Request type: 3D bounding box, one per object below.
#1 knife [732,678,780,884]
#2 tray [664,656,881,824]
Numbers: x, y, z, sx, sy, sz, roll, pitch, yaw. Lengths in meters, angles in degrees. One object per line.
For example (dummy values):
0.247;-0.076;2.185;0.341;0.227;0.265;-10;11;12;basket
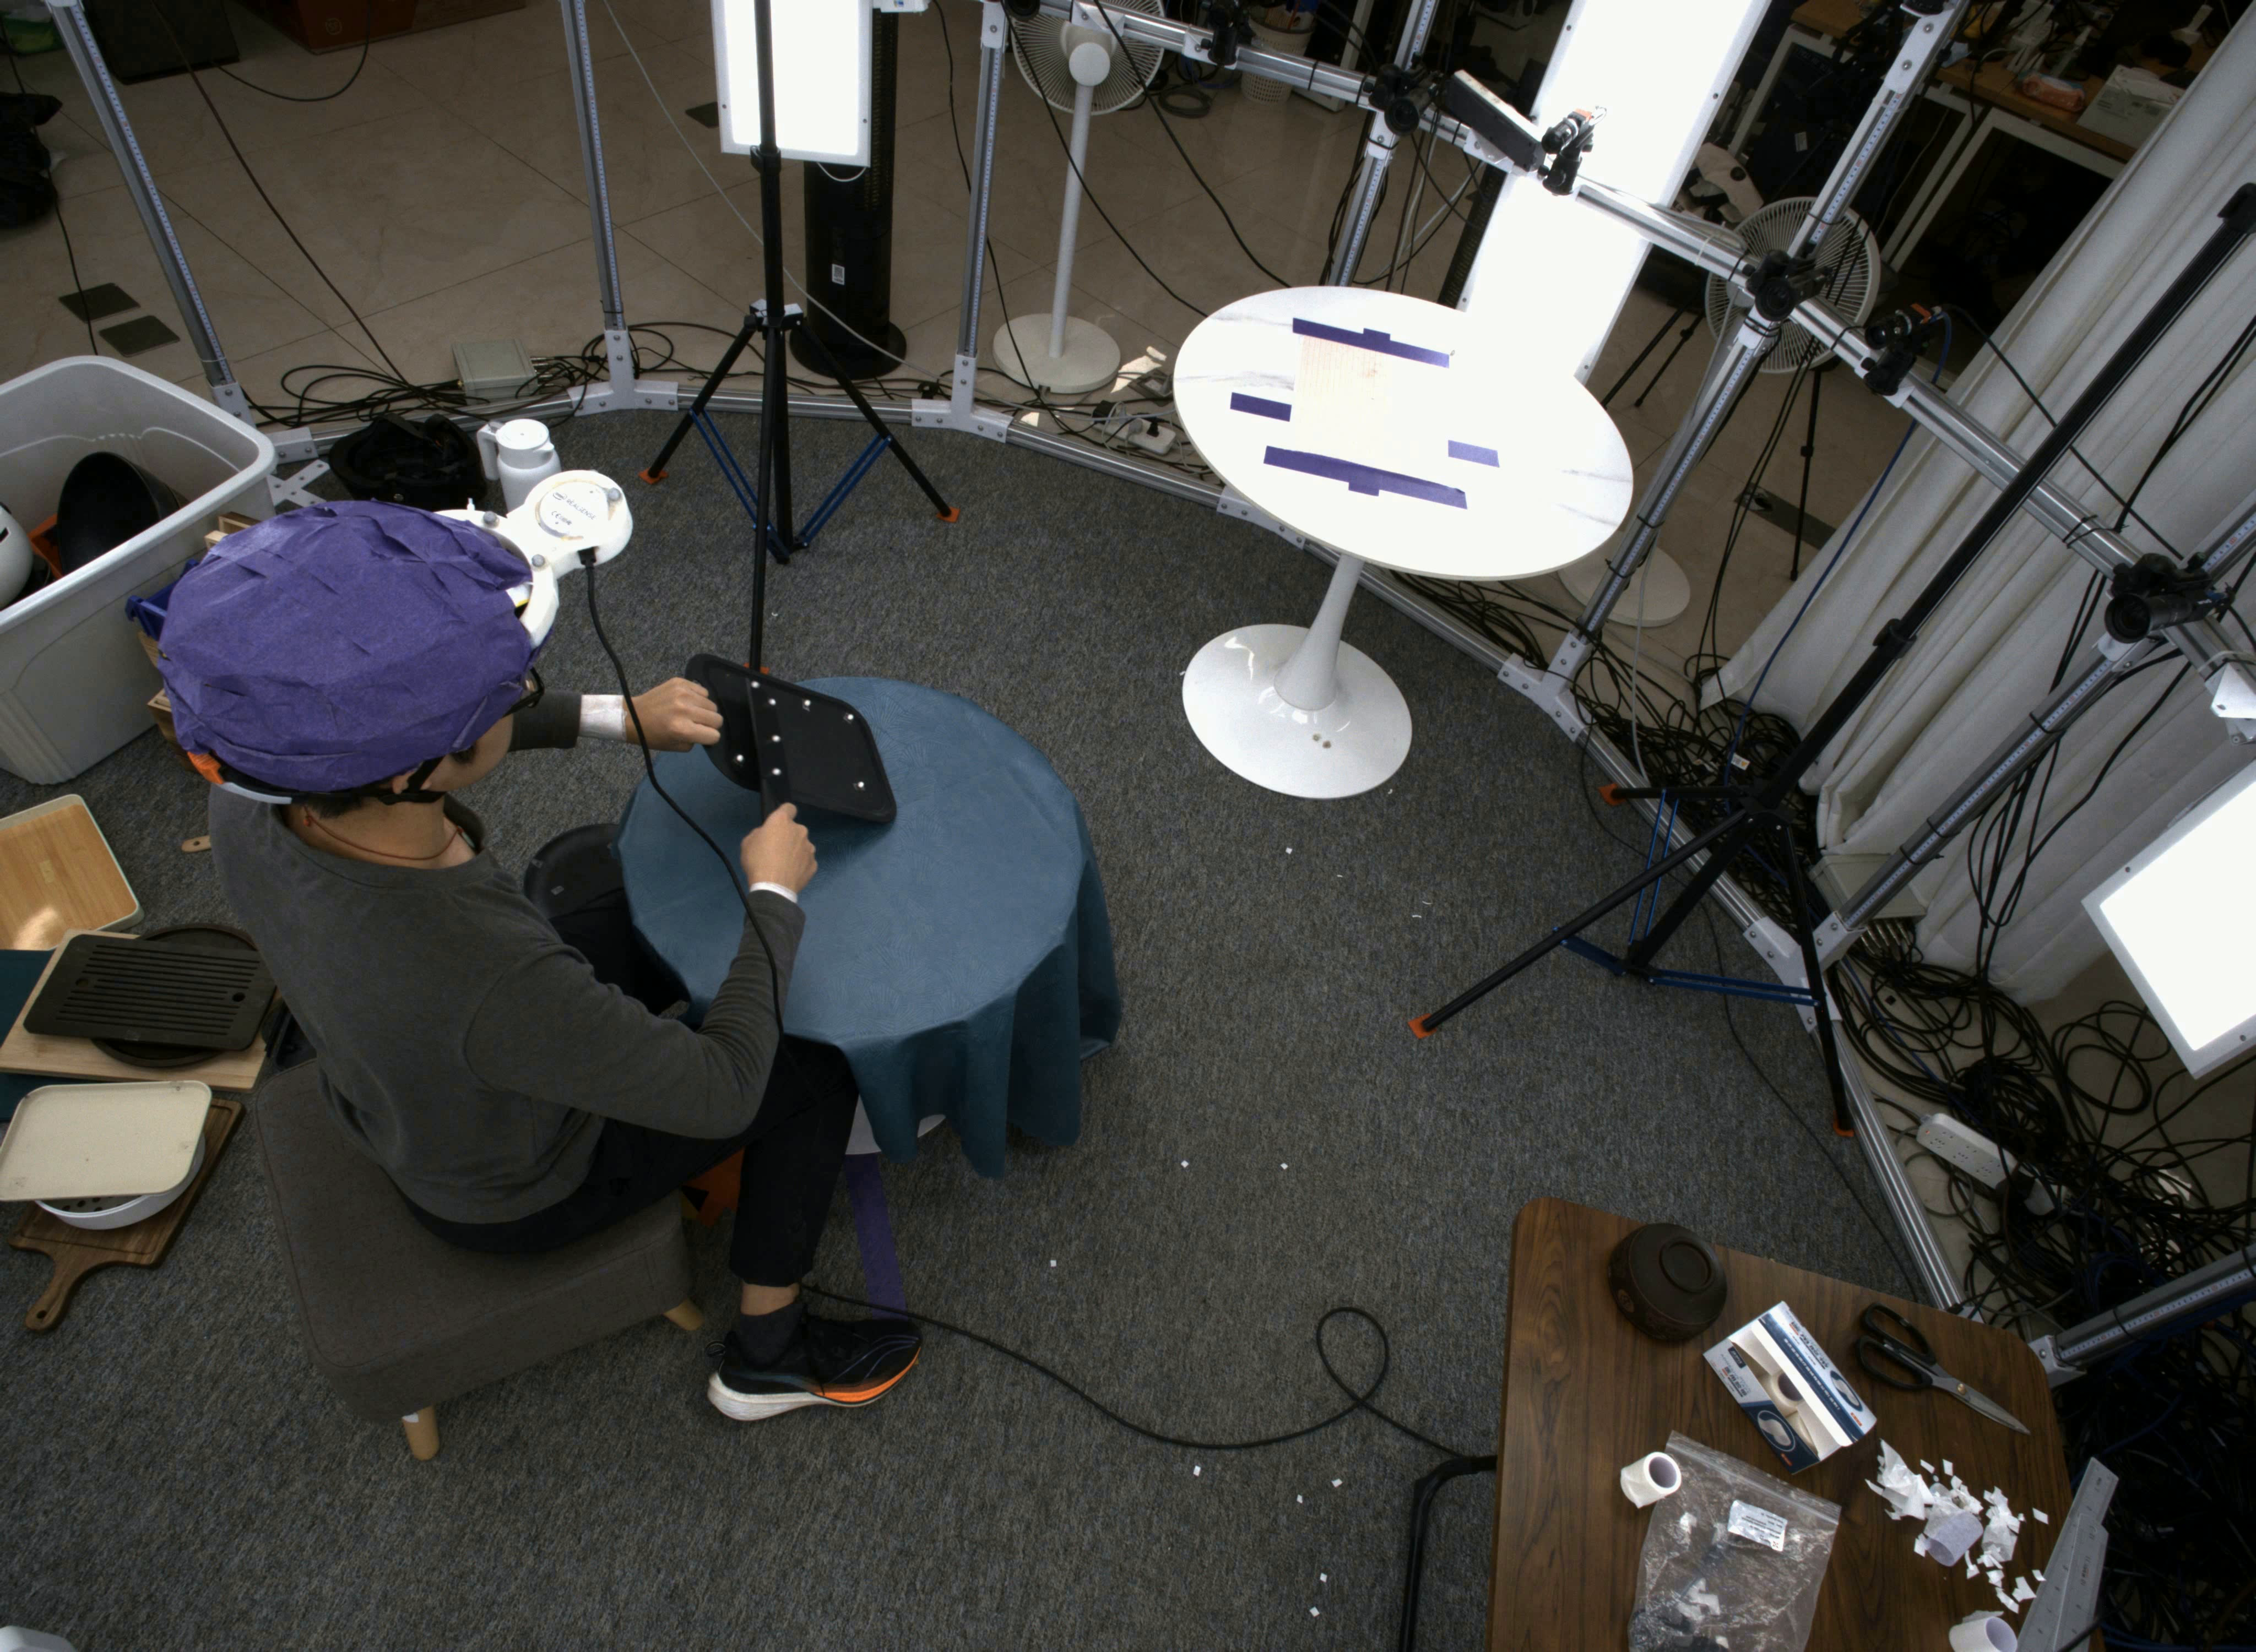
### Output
-0.446;-0.056;1.564;0.020;0.084;0.294;-25;54;10;knife
-0.457;-0.111;1.670;0.334;0.010;0.207;18;43;-53;tray
